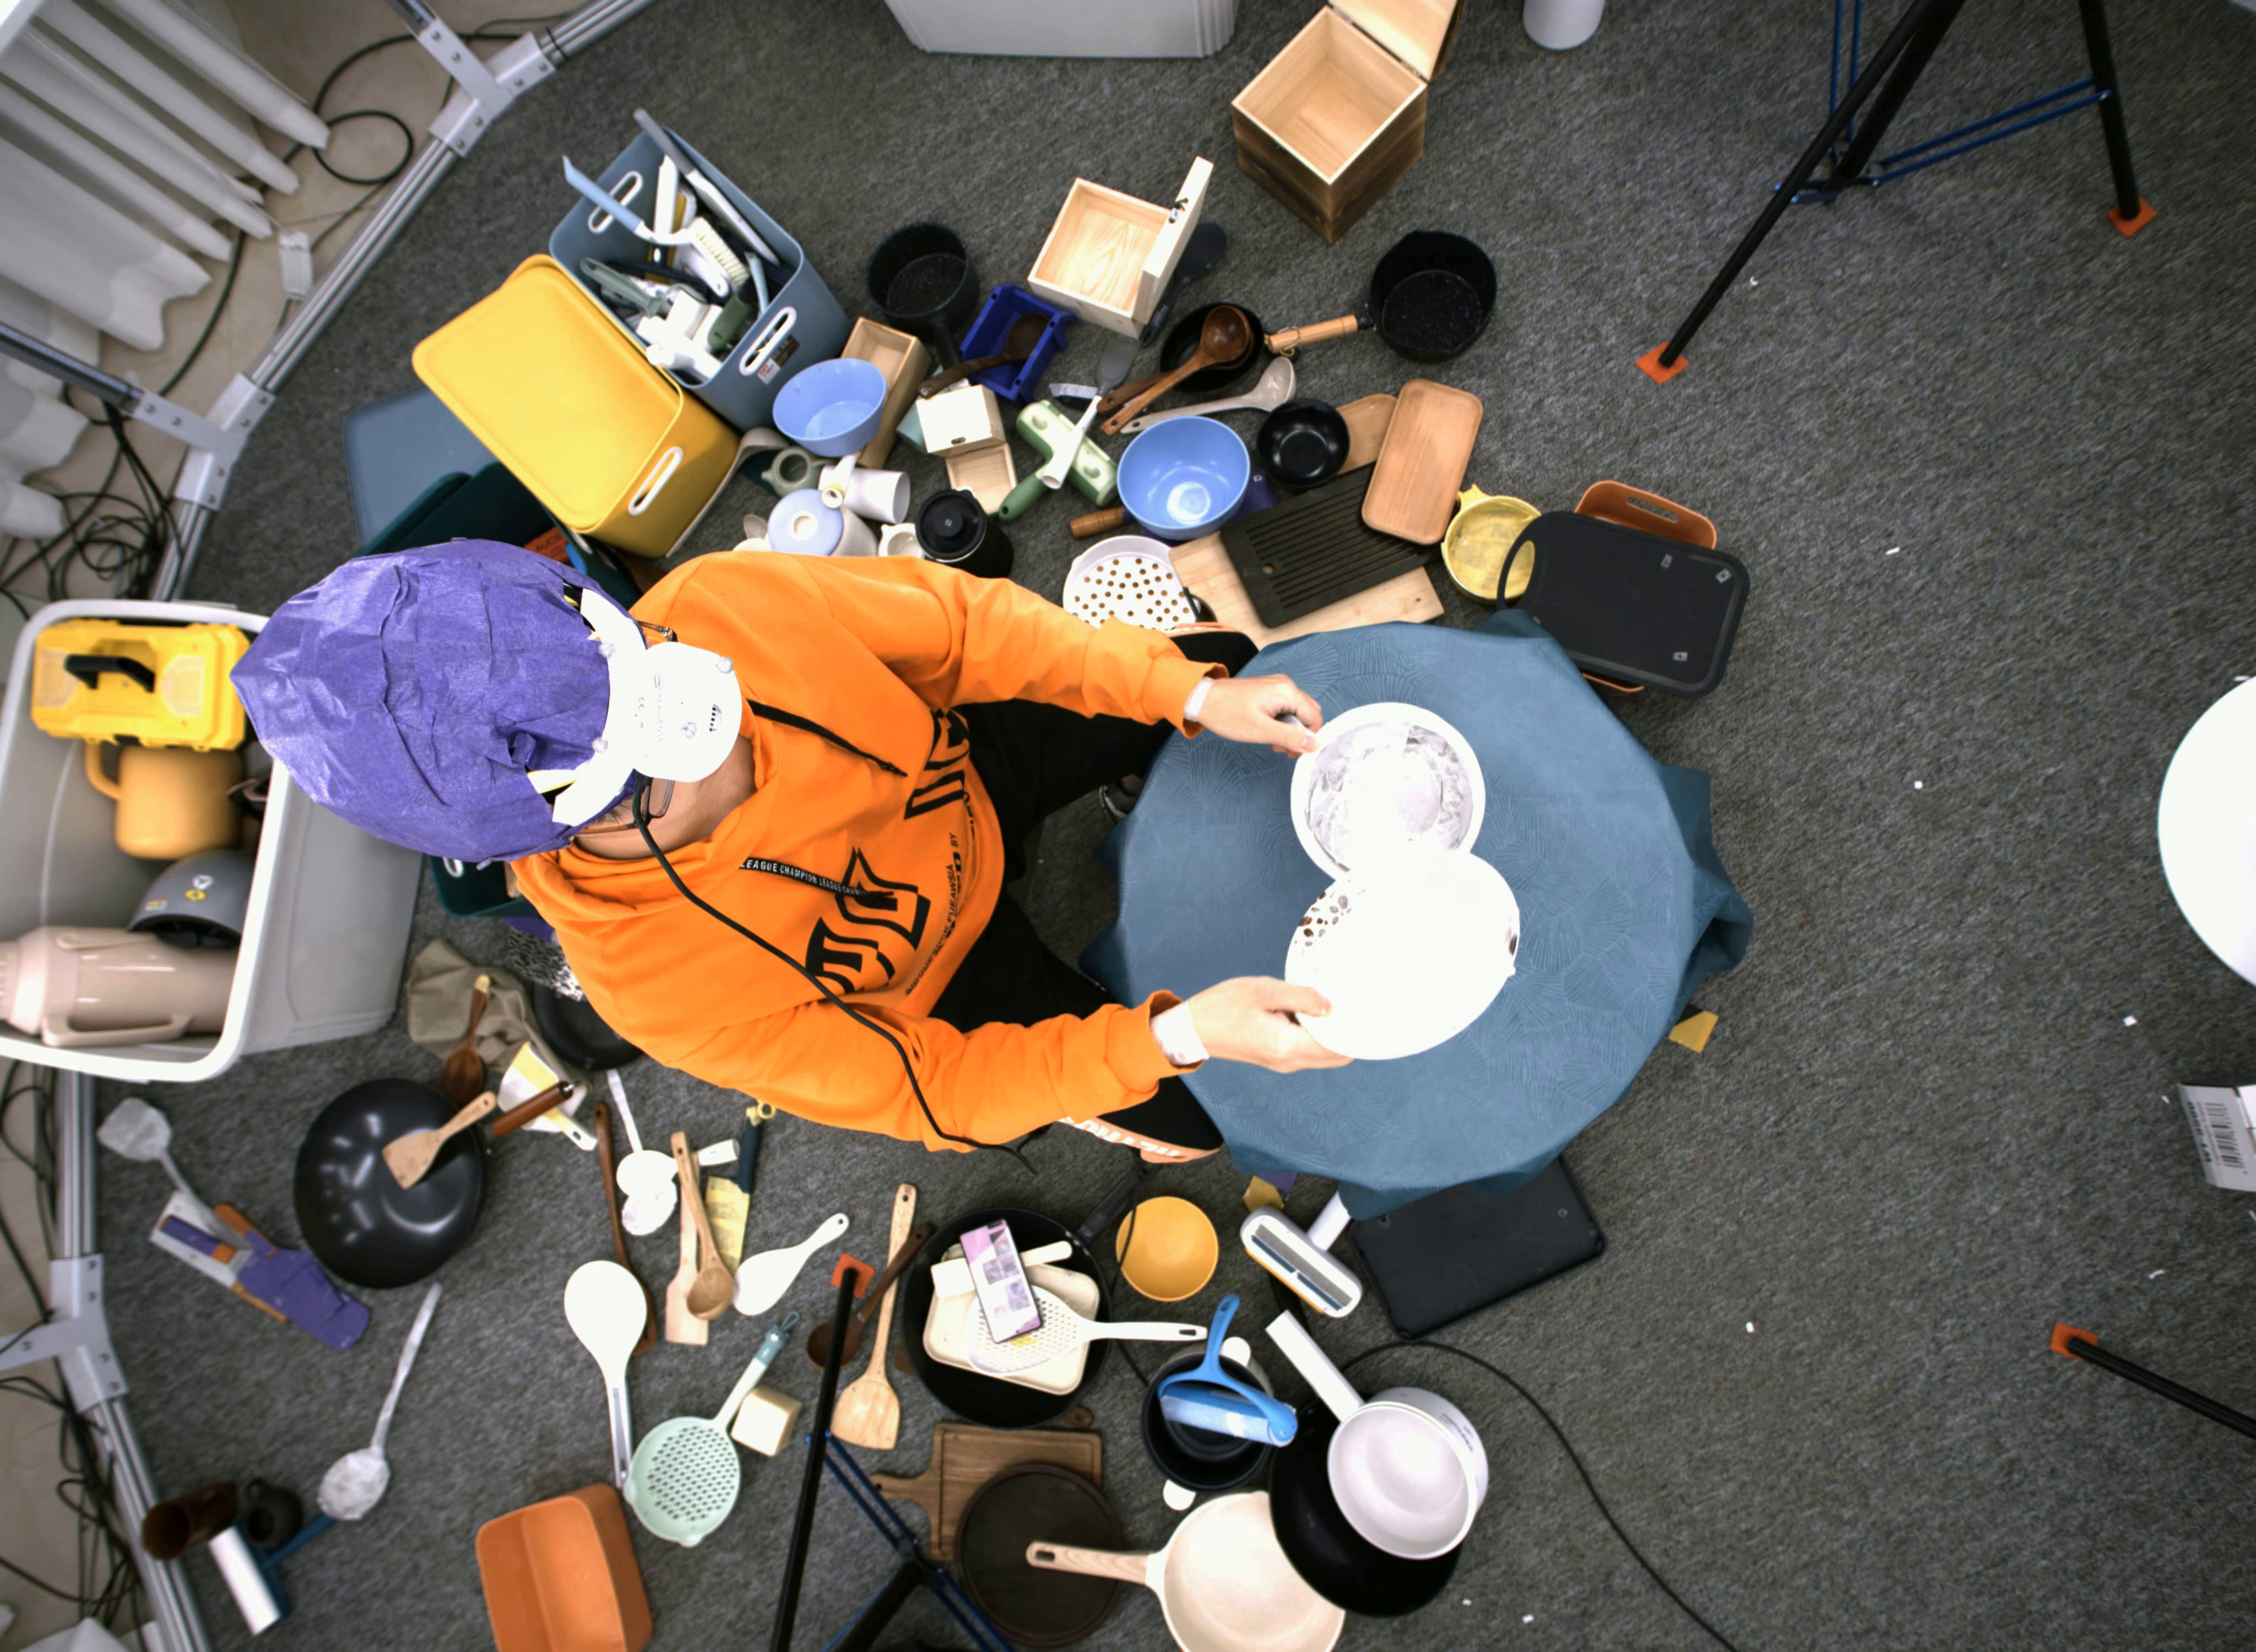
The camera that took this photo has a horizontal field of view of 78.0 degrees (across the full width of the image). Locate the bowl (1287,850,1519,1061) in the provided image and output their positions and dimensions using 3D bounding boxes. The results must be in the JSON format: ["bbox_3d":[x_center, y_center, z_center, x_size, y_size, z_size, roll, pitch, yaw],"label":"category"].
[{"bbox_3d":[0.240,0.122,1.154,0.207,0.079,0.198,-24,43,24],"label":"bowl"}]

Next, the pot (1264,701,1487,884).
[{"bbox_3d":[0.228,-0.042,1.329,0.233,0.136,0.180,35,97,9],"label":"pot"}]
